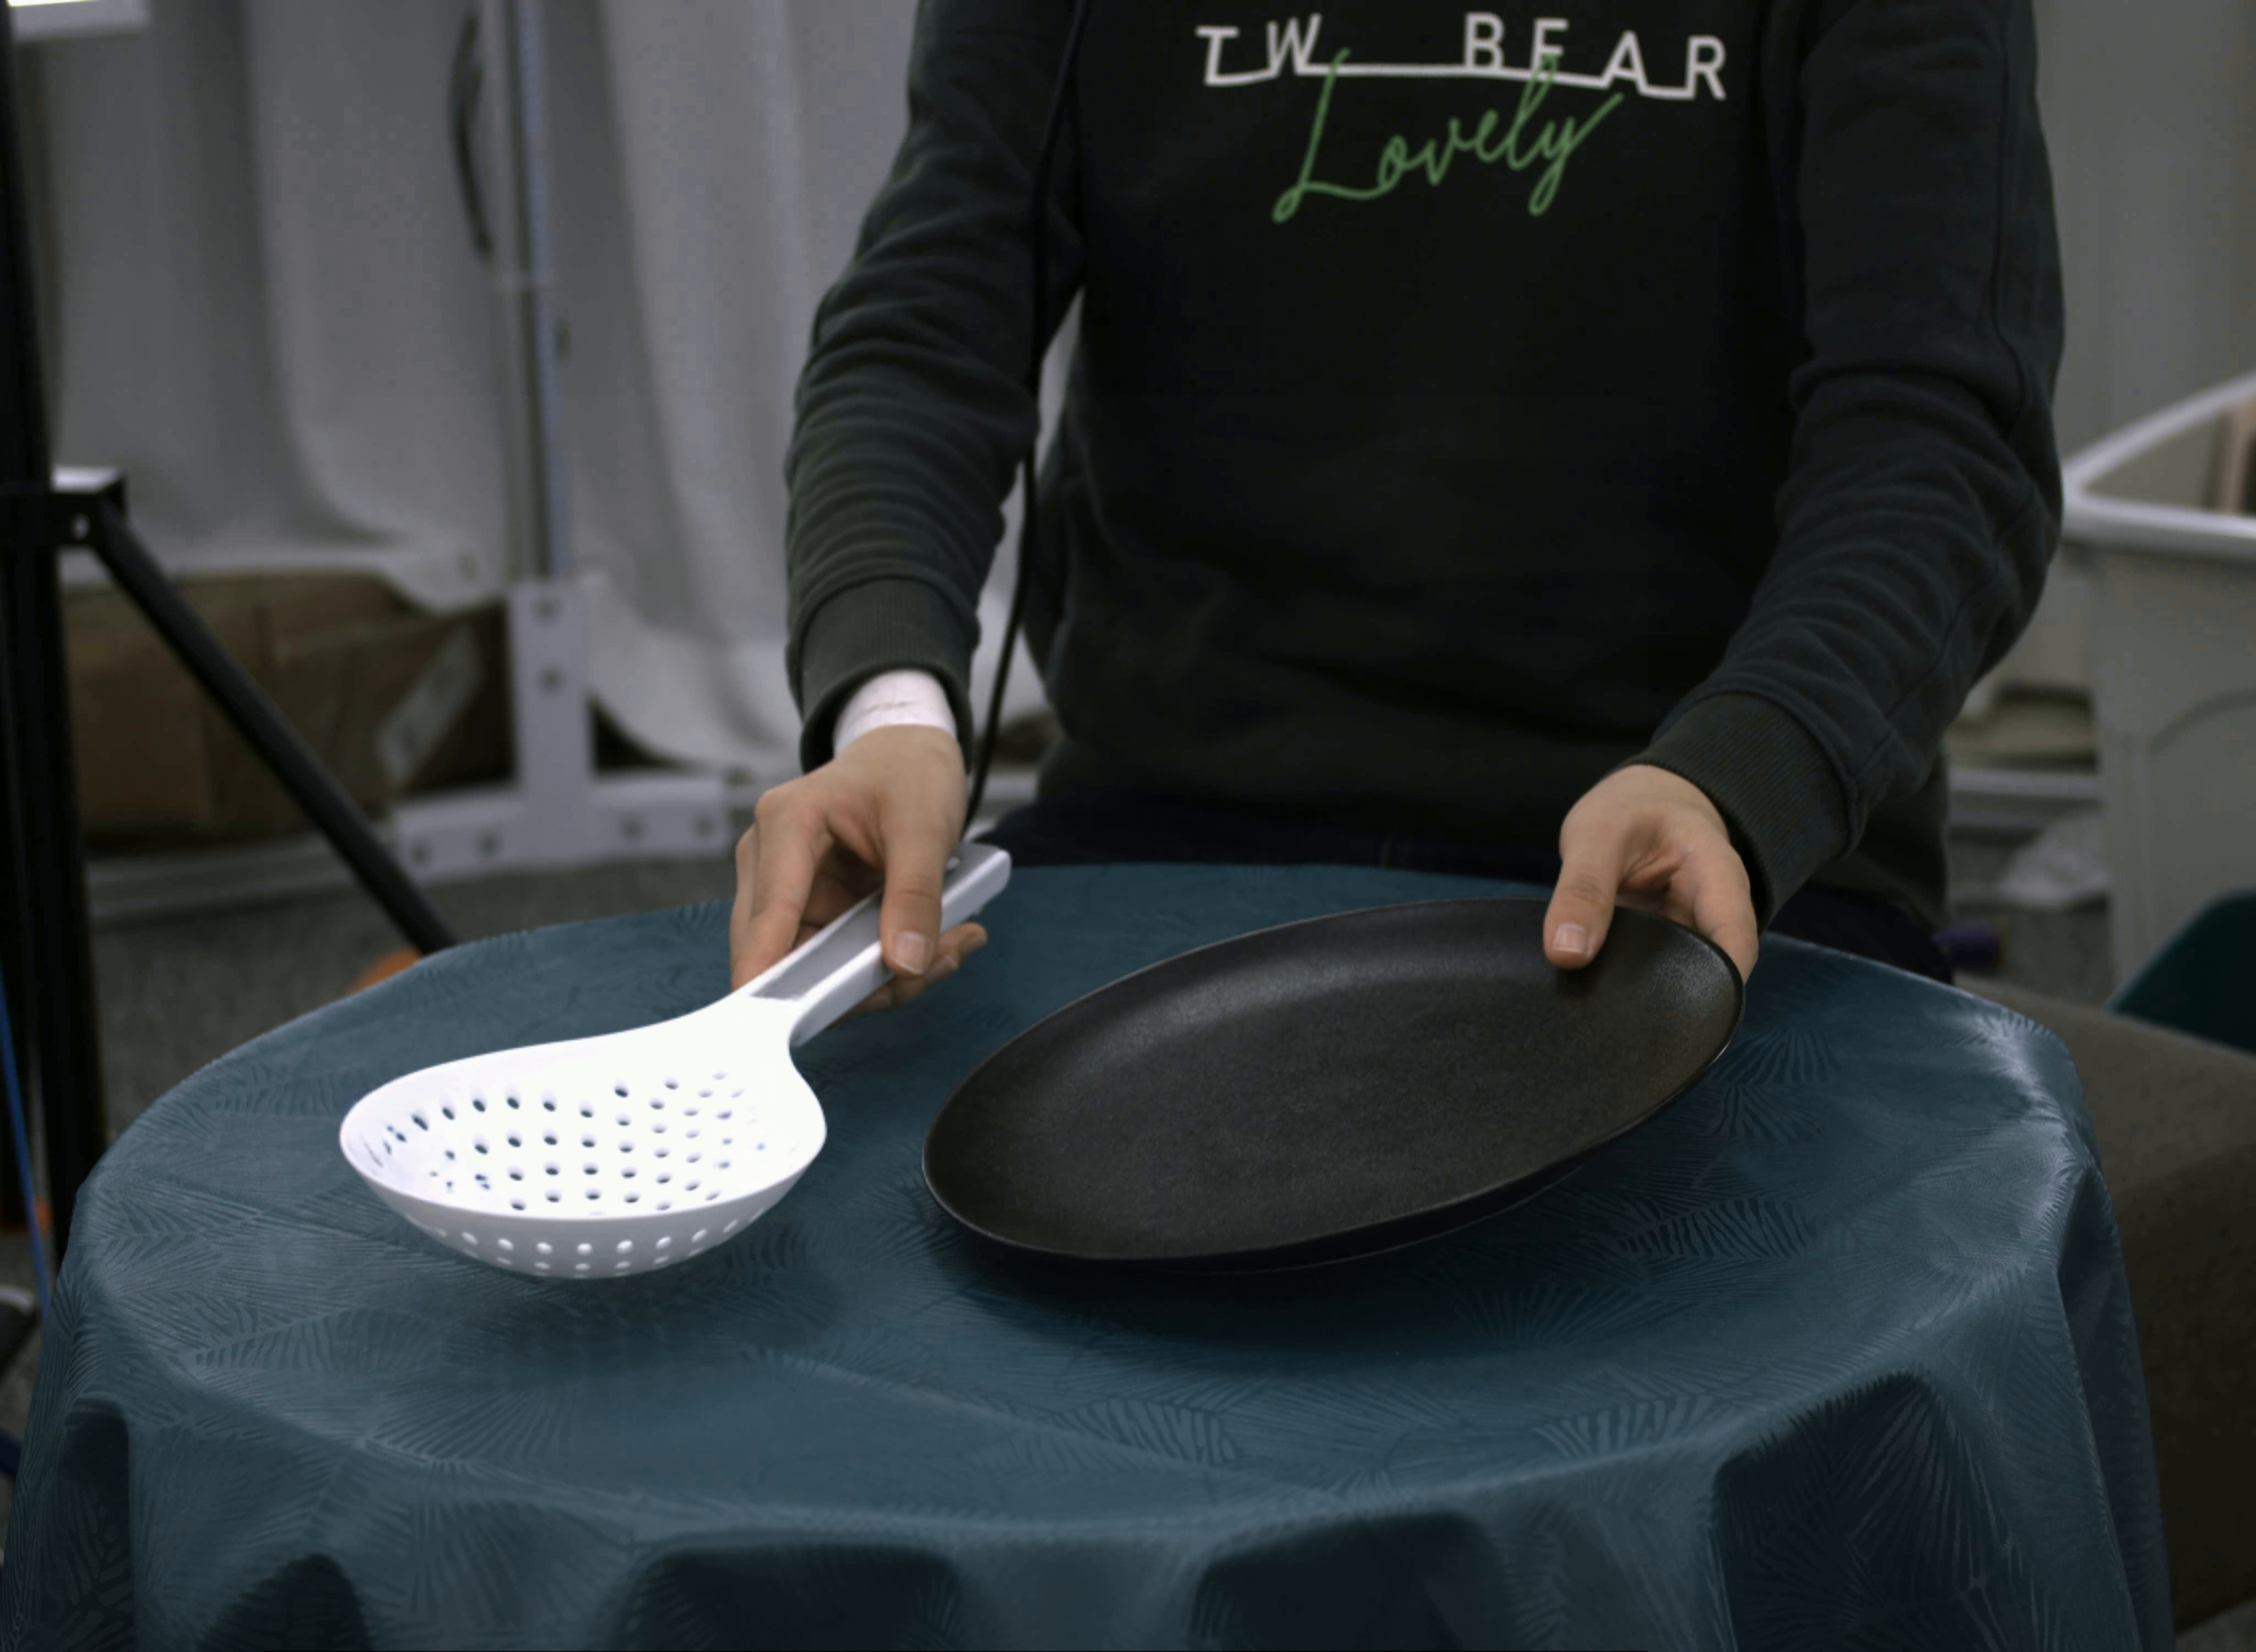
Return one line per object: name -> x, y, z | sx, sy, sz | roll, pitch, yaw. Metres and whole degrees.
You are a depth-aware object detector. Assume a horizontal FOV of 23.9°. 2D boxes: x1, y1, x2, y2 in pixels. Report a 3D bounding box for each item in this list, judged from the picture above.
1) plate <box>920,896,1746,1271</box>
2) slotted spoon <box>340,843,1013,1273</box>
plate -> 0.060, 0.078, 1.532 | 0.244, 0.023, 0.246 | -13, 19, 3
slotted spoon -> -0.114, 0.061, 1.595 | 0.138, 0.045, 0.346 | 9, 24, 21
